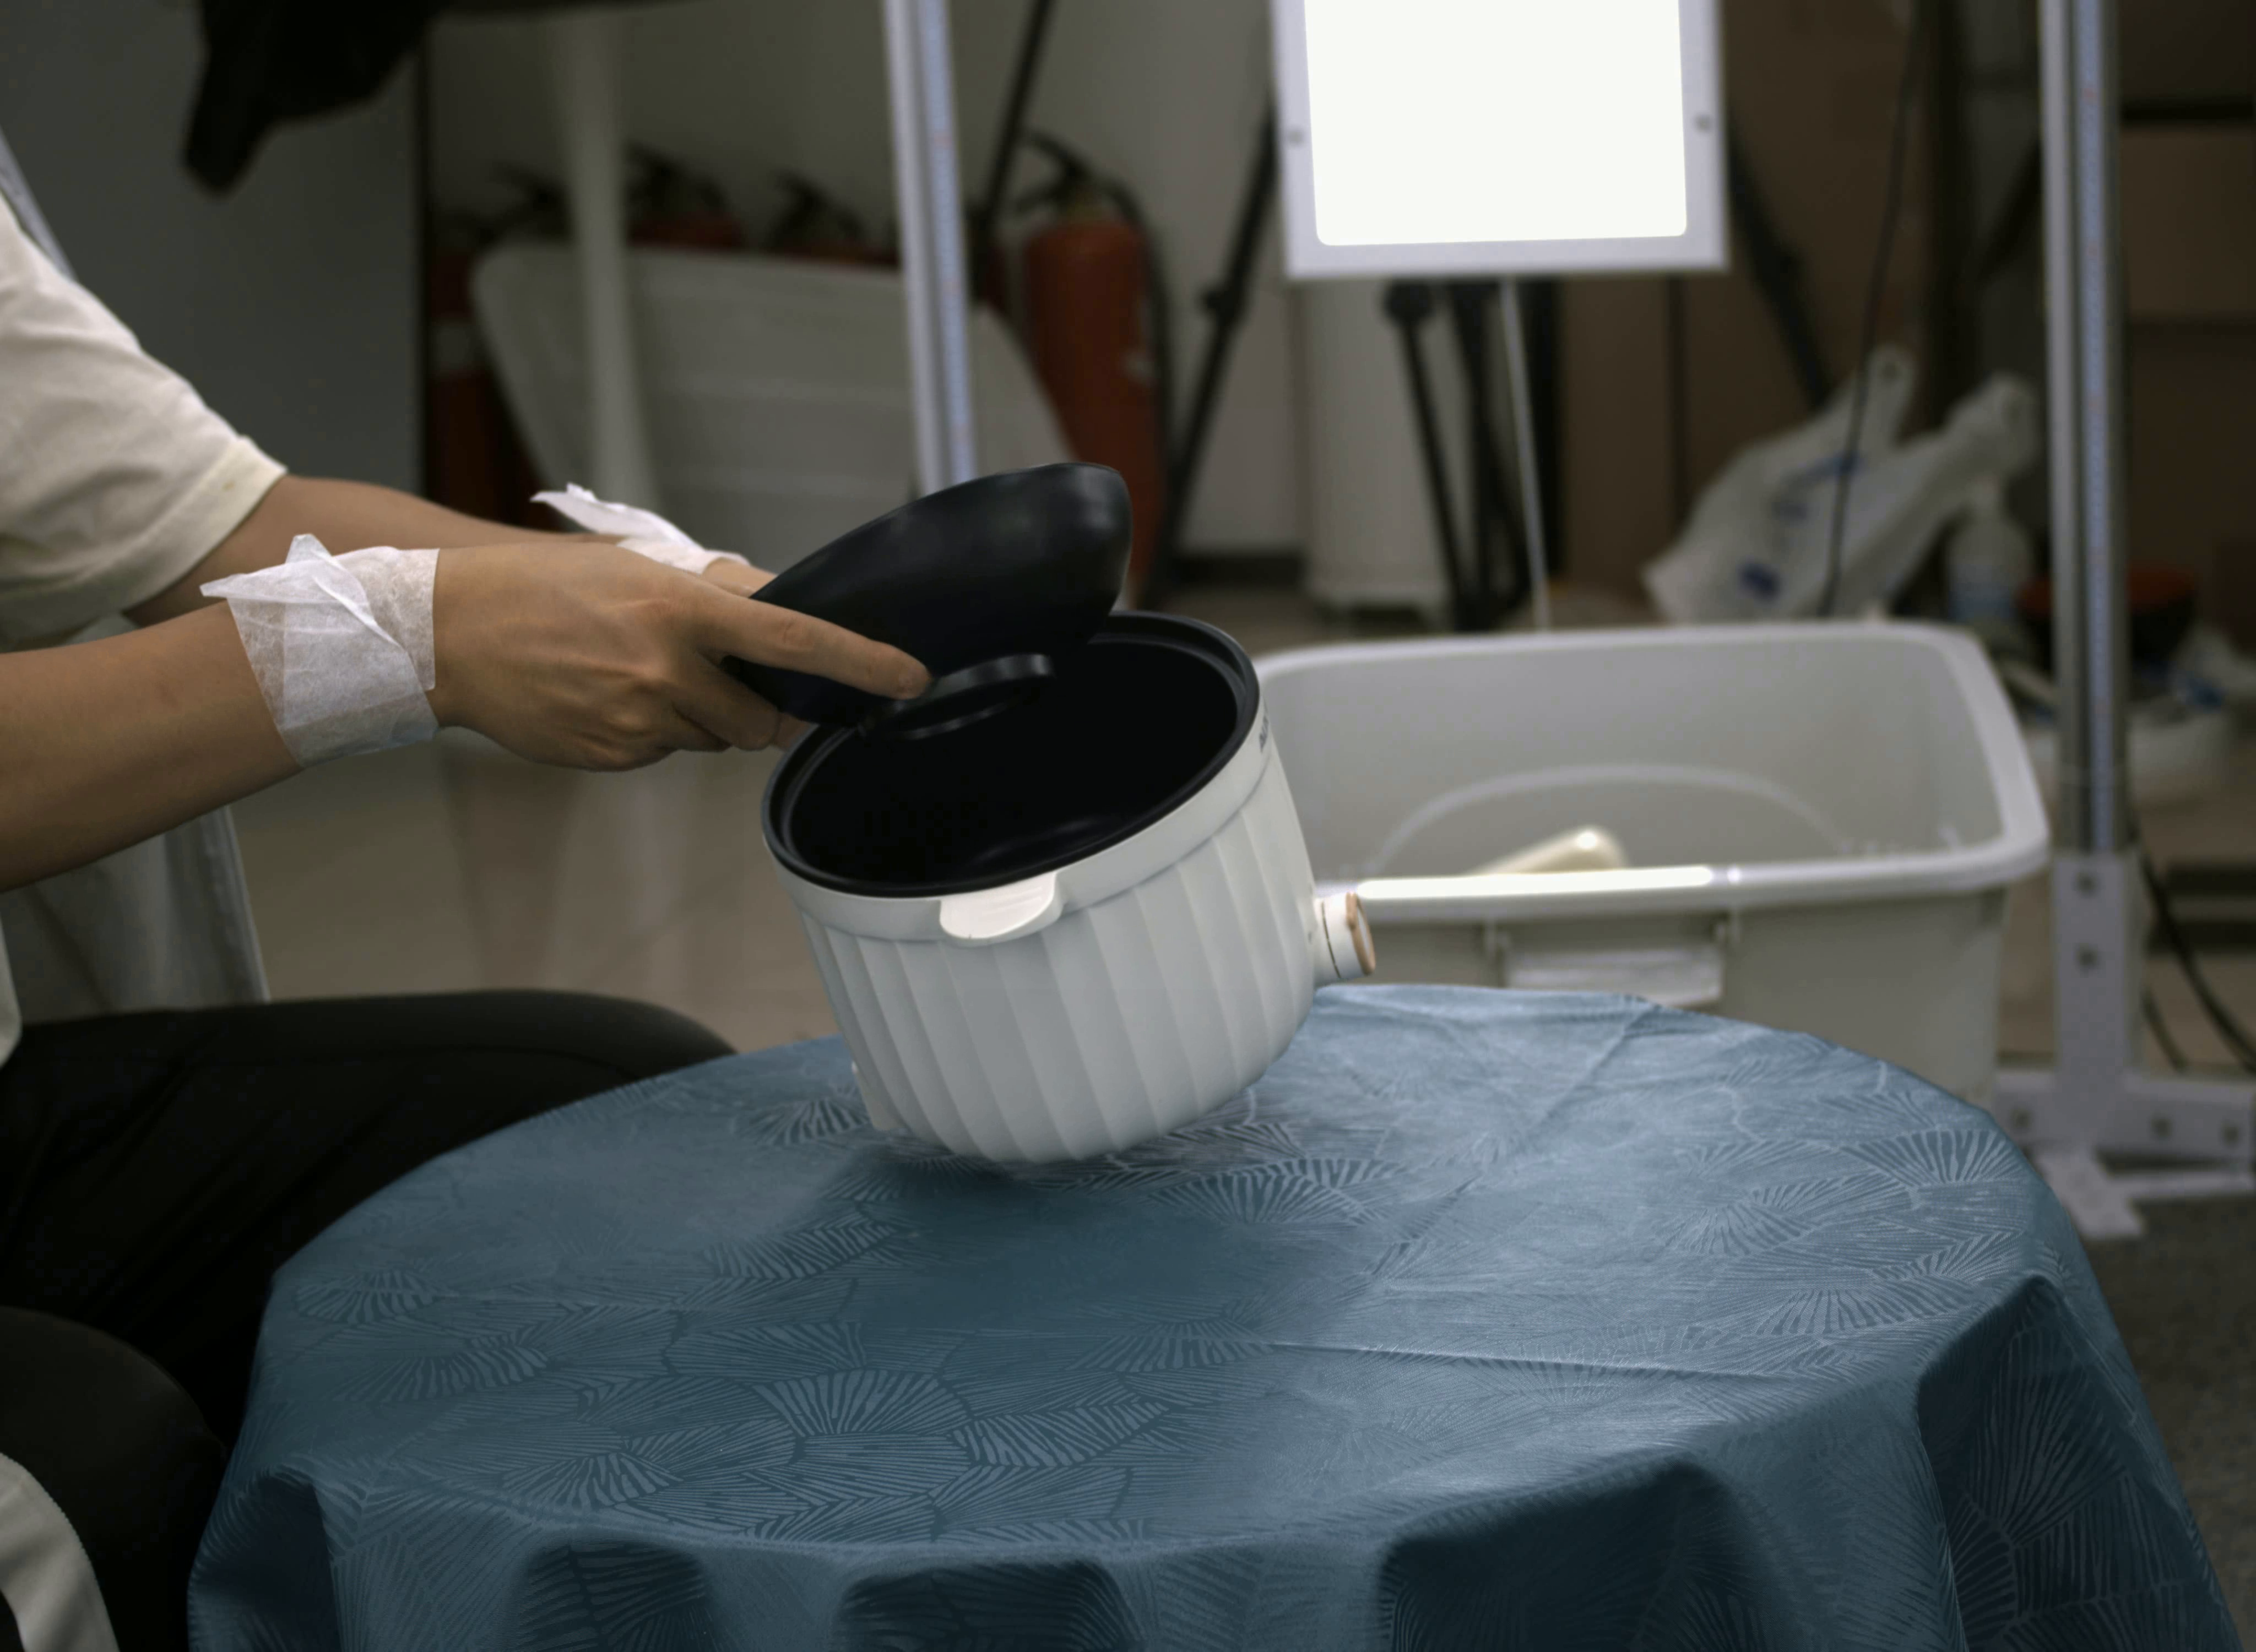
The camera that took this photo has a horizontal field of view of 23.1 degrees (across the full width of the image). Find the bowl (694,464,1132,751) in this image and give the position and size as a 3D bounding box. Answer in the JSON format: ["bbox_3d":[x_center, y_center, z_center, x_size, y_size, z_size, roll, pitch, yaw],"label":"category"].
[{"bbox_3d":[-0.065,-0.068,1.876,0.166,0.067,0.140,-12,-12,-40],"label":"bowl"}]

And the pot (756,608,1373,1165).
[{"bbox_3d":[-0.020,0.025,1.942,0.192,0.142,0.239,-17,29,11],"label":"pot"}]
